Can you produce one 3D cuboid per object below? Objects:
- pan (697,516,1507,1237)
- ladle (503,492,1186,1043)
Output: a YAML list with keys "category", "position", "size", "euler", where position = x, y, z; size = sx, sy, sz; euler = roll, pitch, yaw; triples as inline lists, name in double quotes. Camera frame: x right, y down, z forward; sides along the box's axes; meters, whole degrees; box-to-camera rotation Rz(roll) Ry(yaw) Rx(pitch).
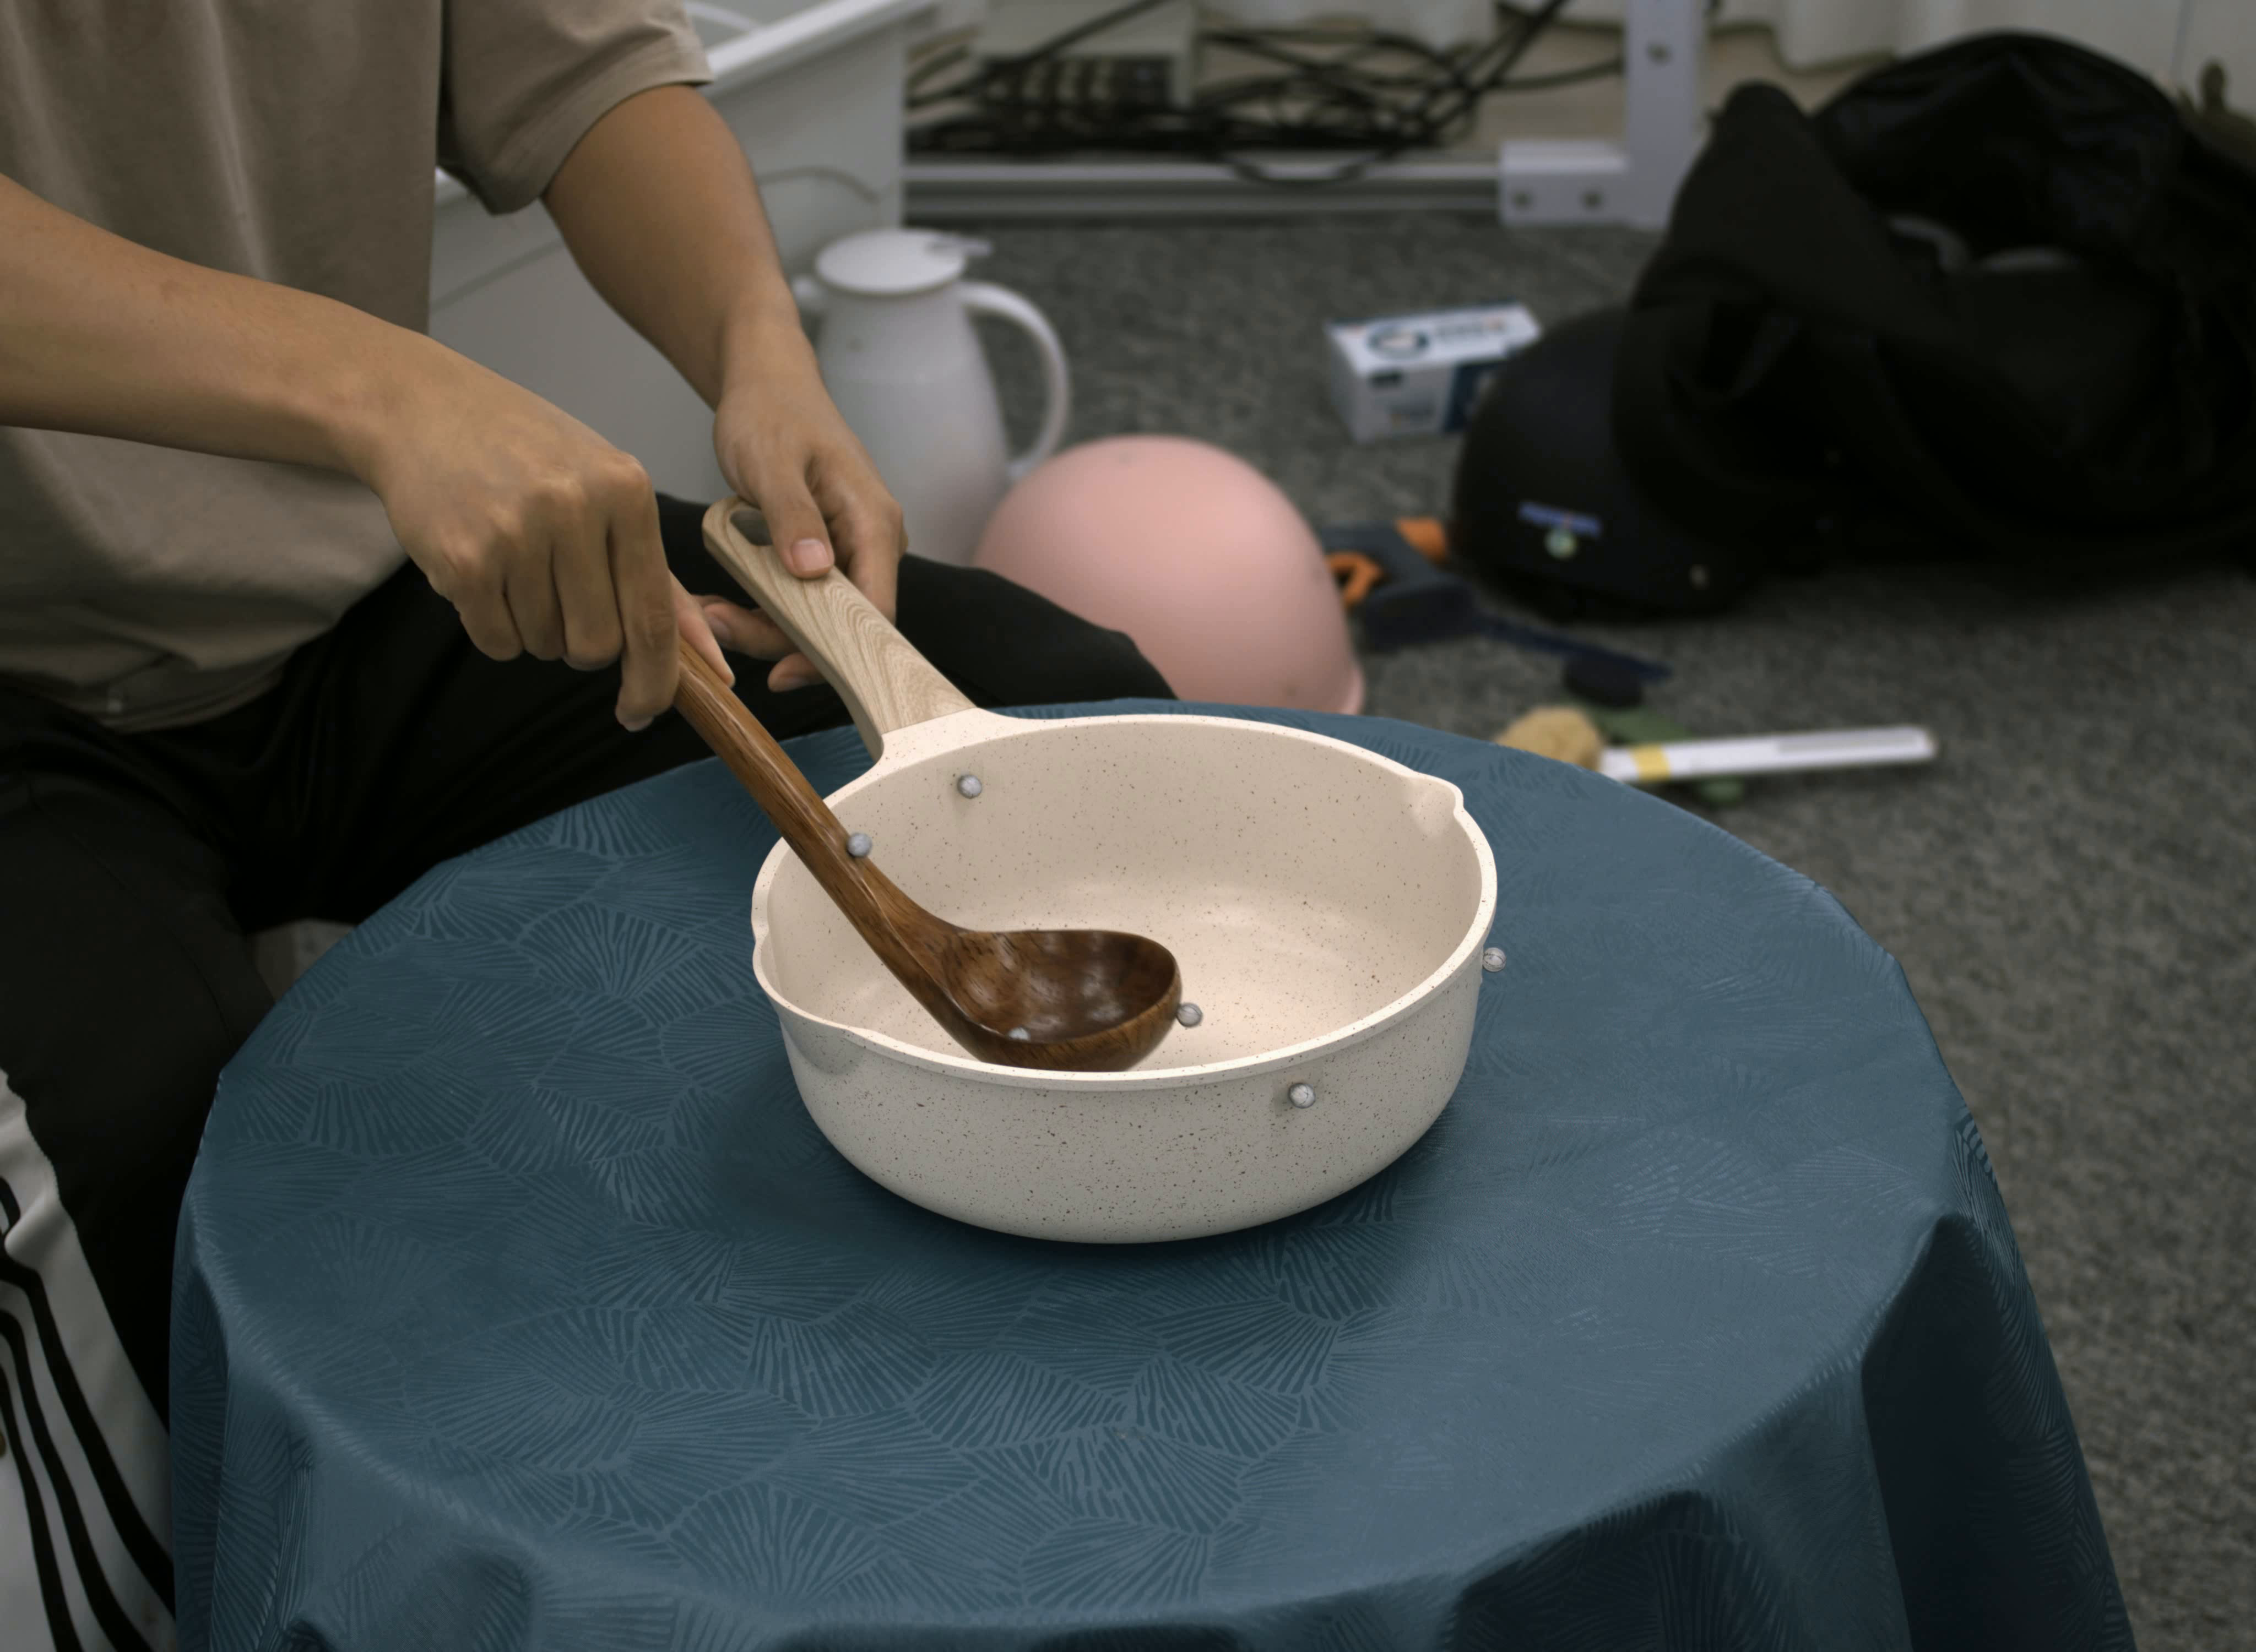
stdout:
- category: "pan"
  position: [-0.041, 0.011, 1.972]
  size: [0.265, 0.101, 0.437]
  euler: [-18, 31, -24]
- category: "ladle"
  position: [-0.089, -0.019, 1.840]
  size: [0.076, 0.273, 0.083]
  euler: [-36, 11, 20]
